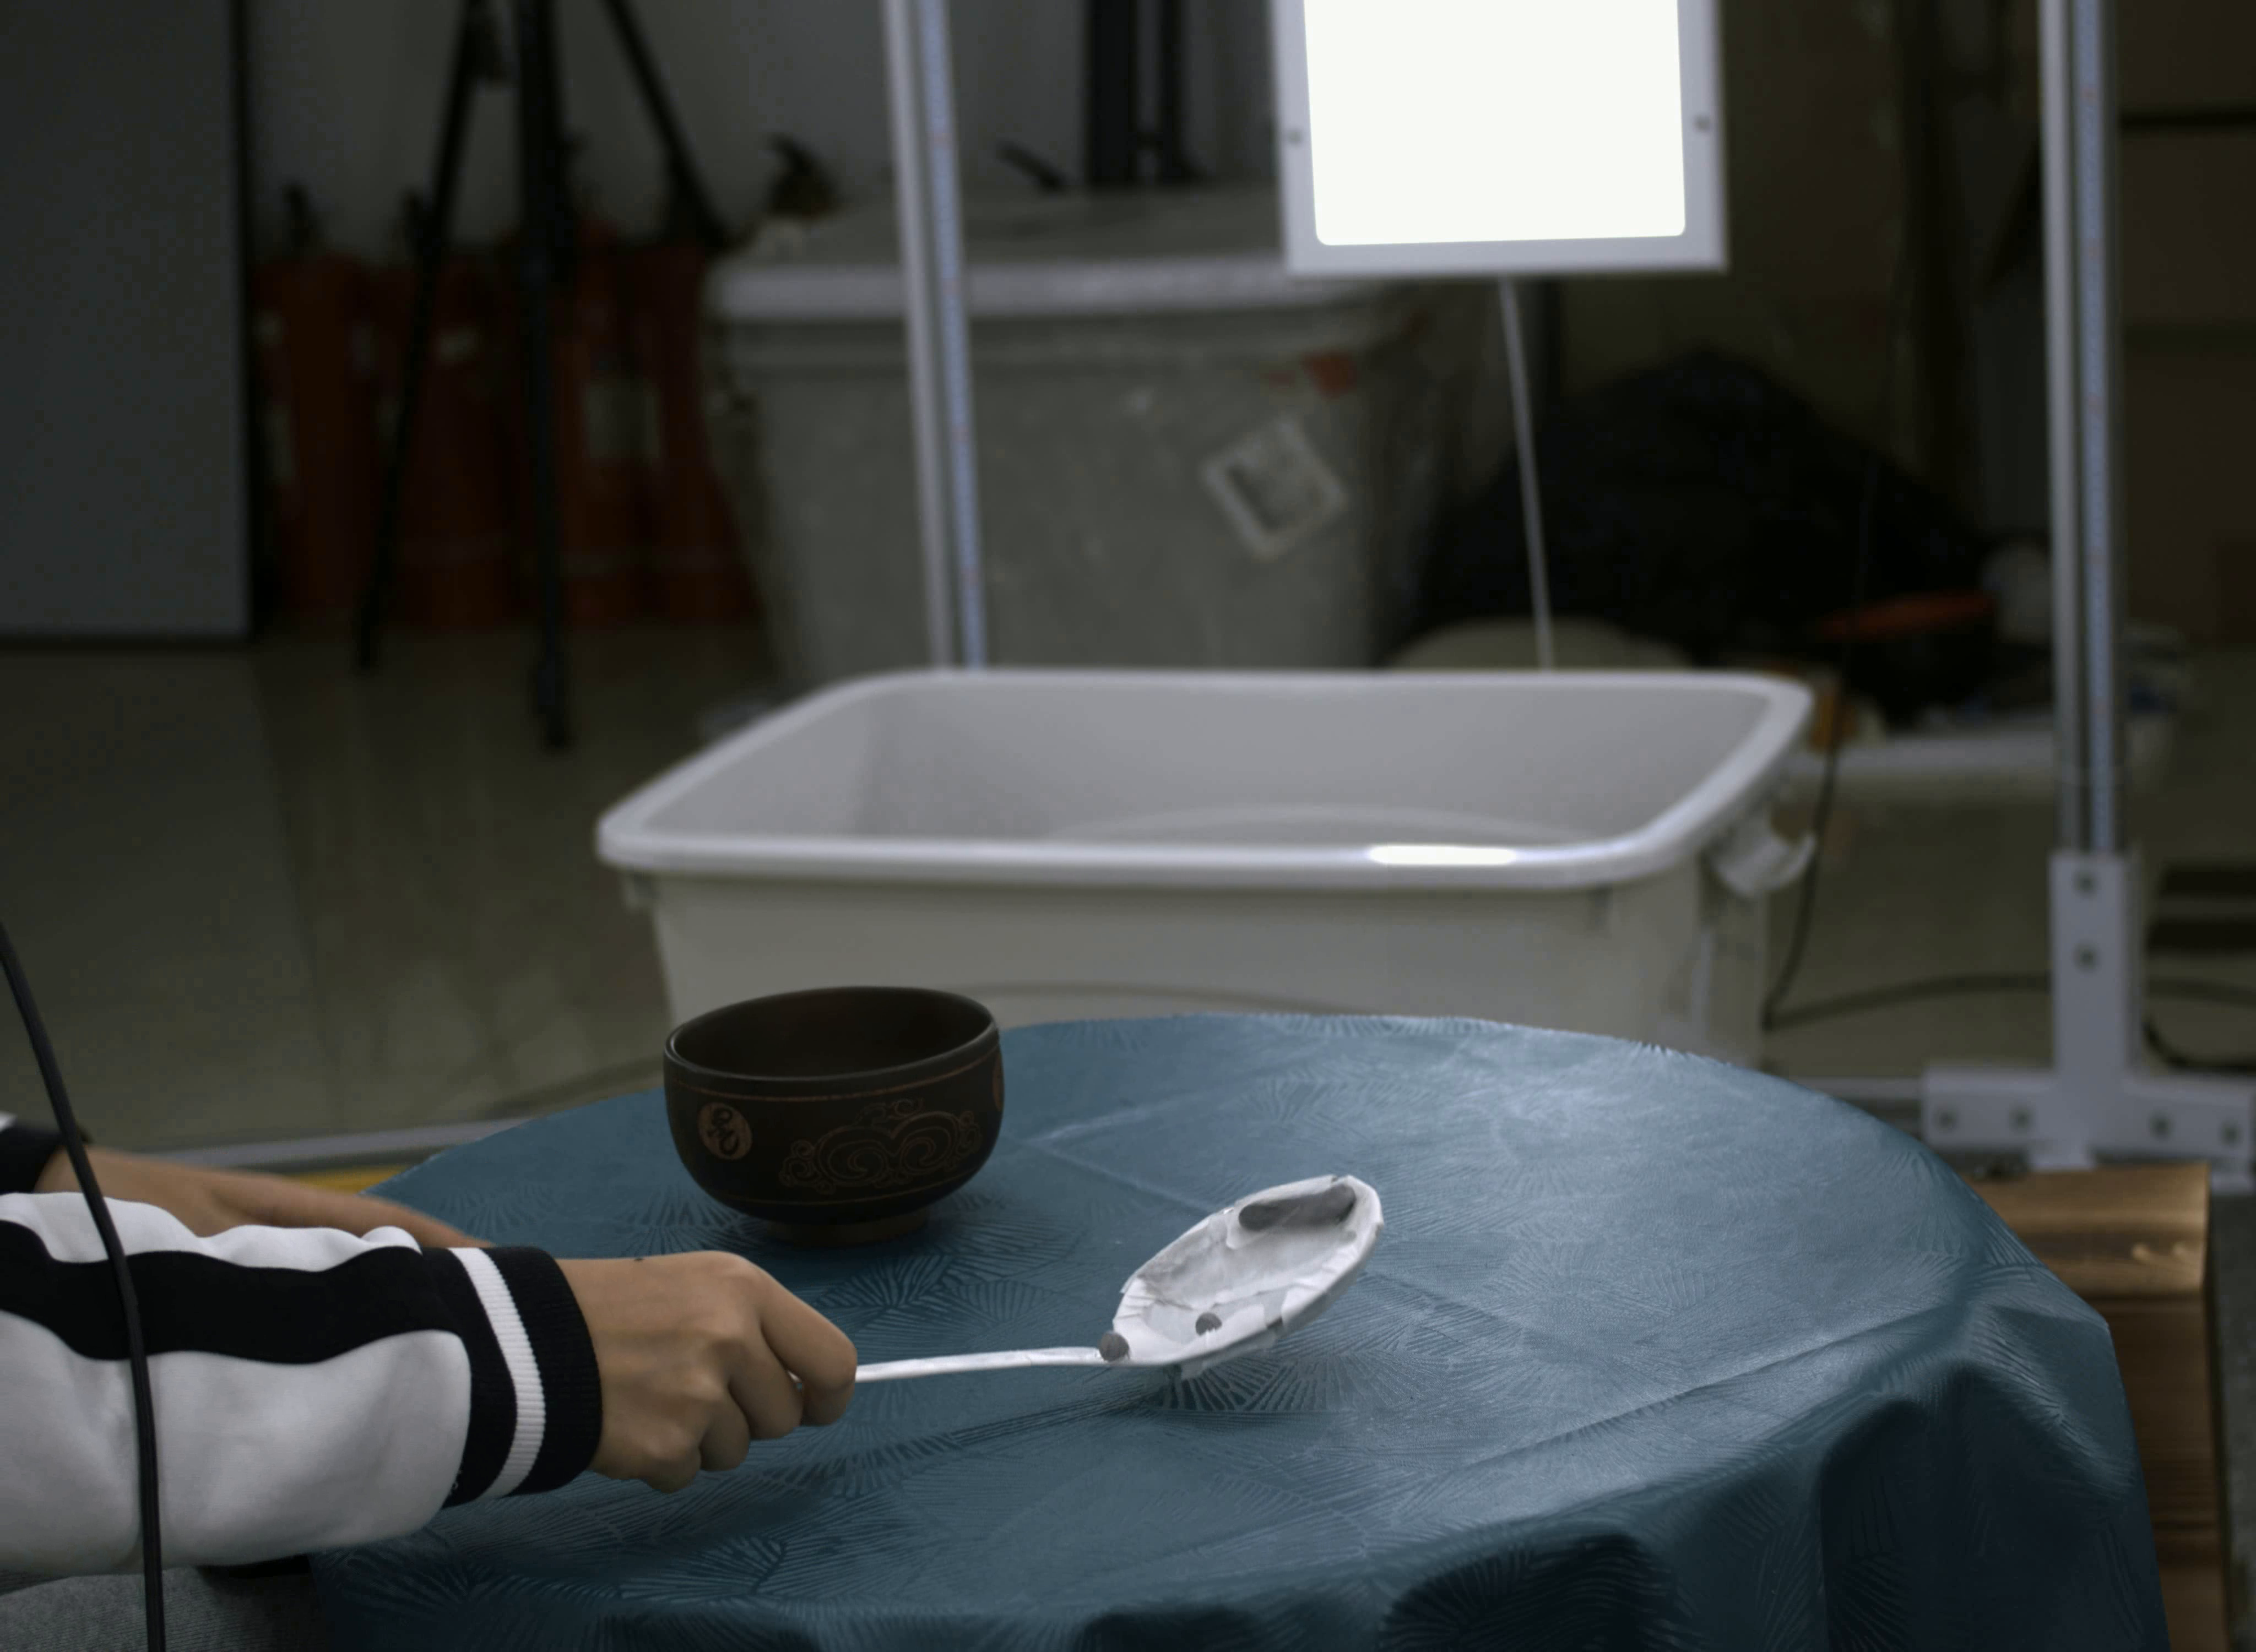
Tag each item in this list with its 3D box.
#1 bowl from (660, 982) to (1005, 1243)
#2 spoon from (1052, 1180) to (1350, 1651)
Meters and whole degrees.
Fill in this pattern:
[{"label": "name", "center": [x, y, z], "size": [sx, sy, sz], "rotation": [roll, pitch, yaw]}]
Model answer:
[{"label": "bowl", "center": [-0.099, 0.101, 1.885], "size": [0.118, 0.070, 0.118], "rotation": [-5, 13, 0]}, {"label": "spoon", "center": [0.013, 0.223, 1.670], "size": [0.058, 0.276, 0.103], "rotation": [30, -33, -33]}]
